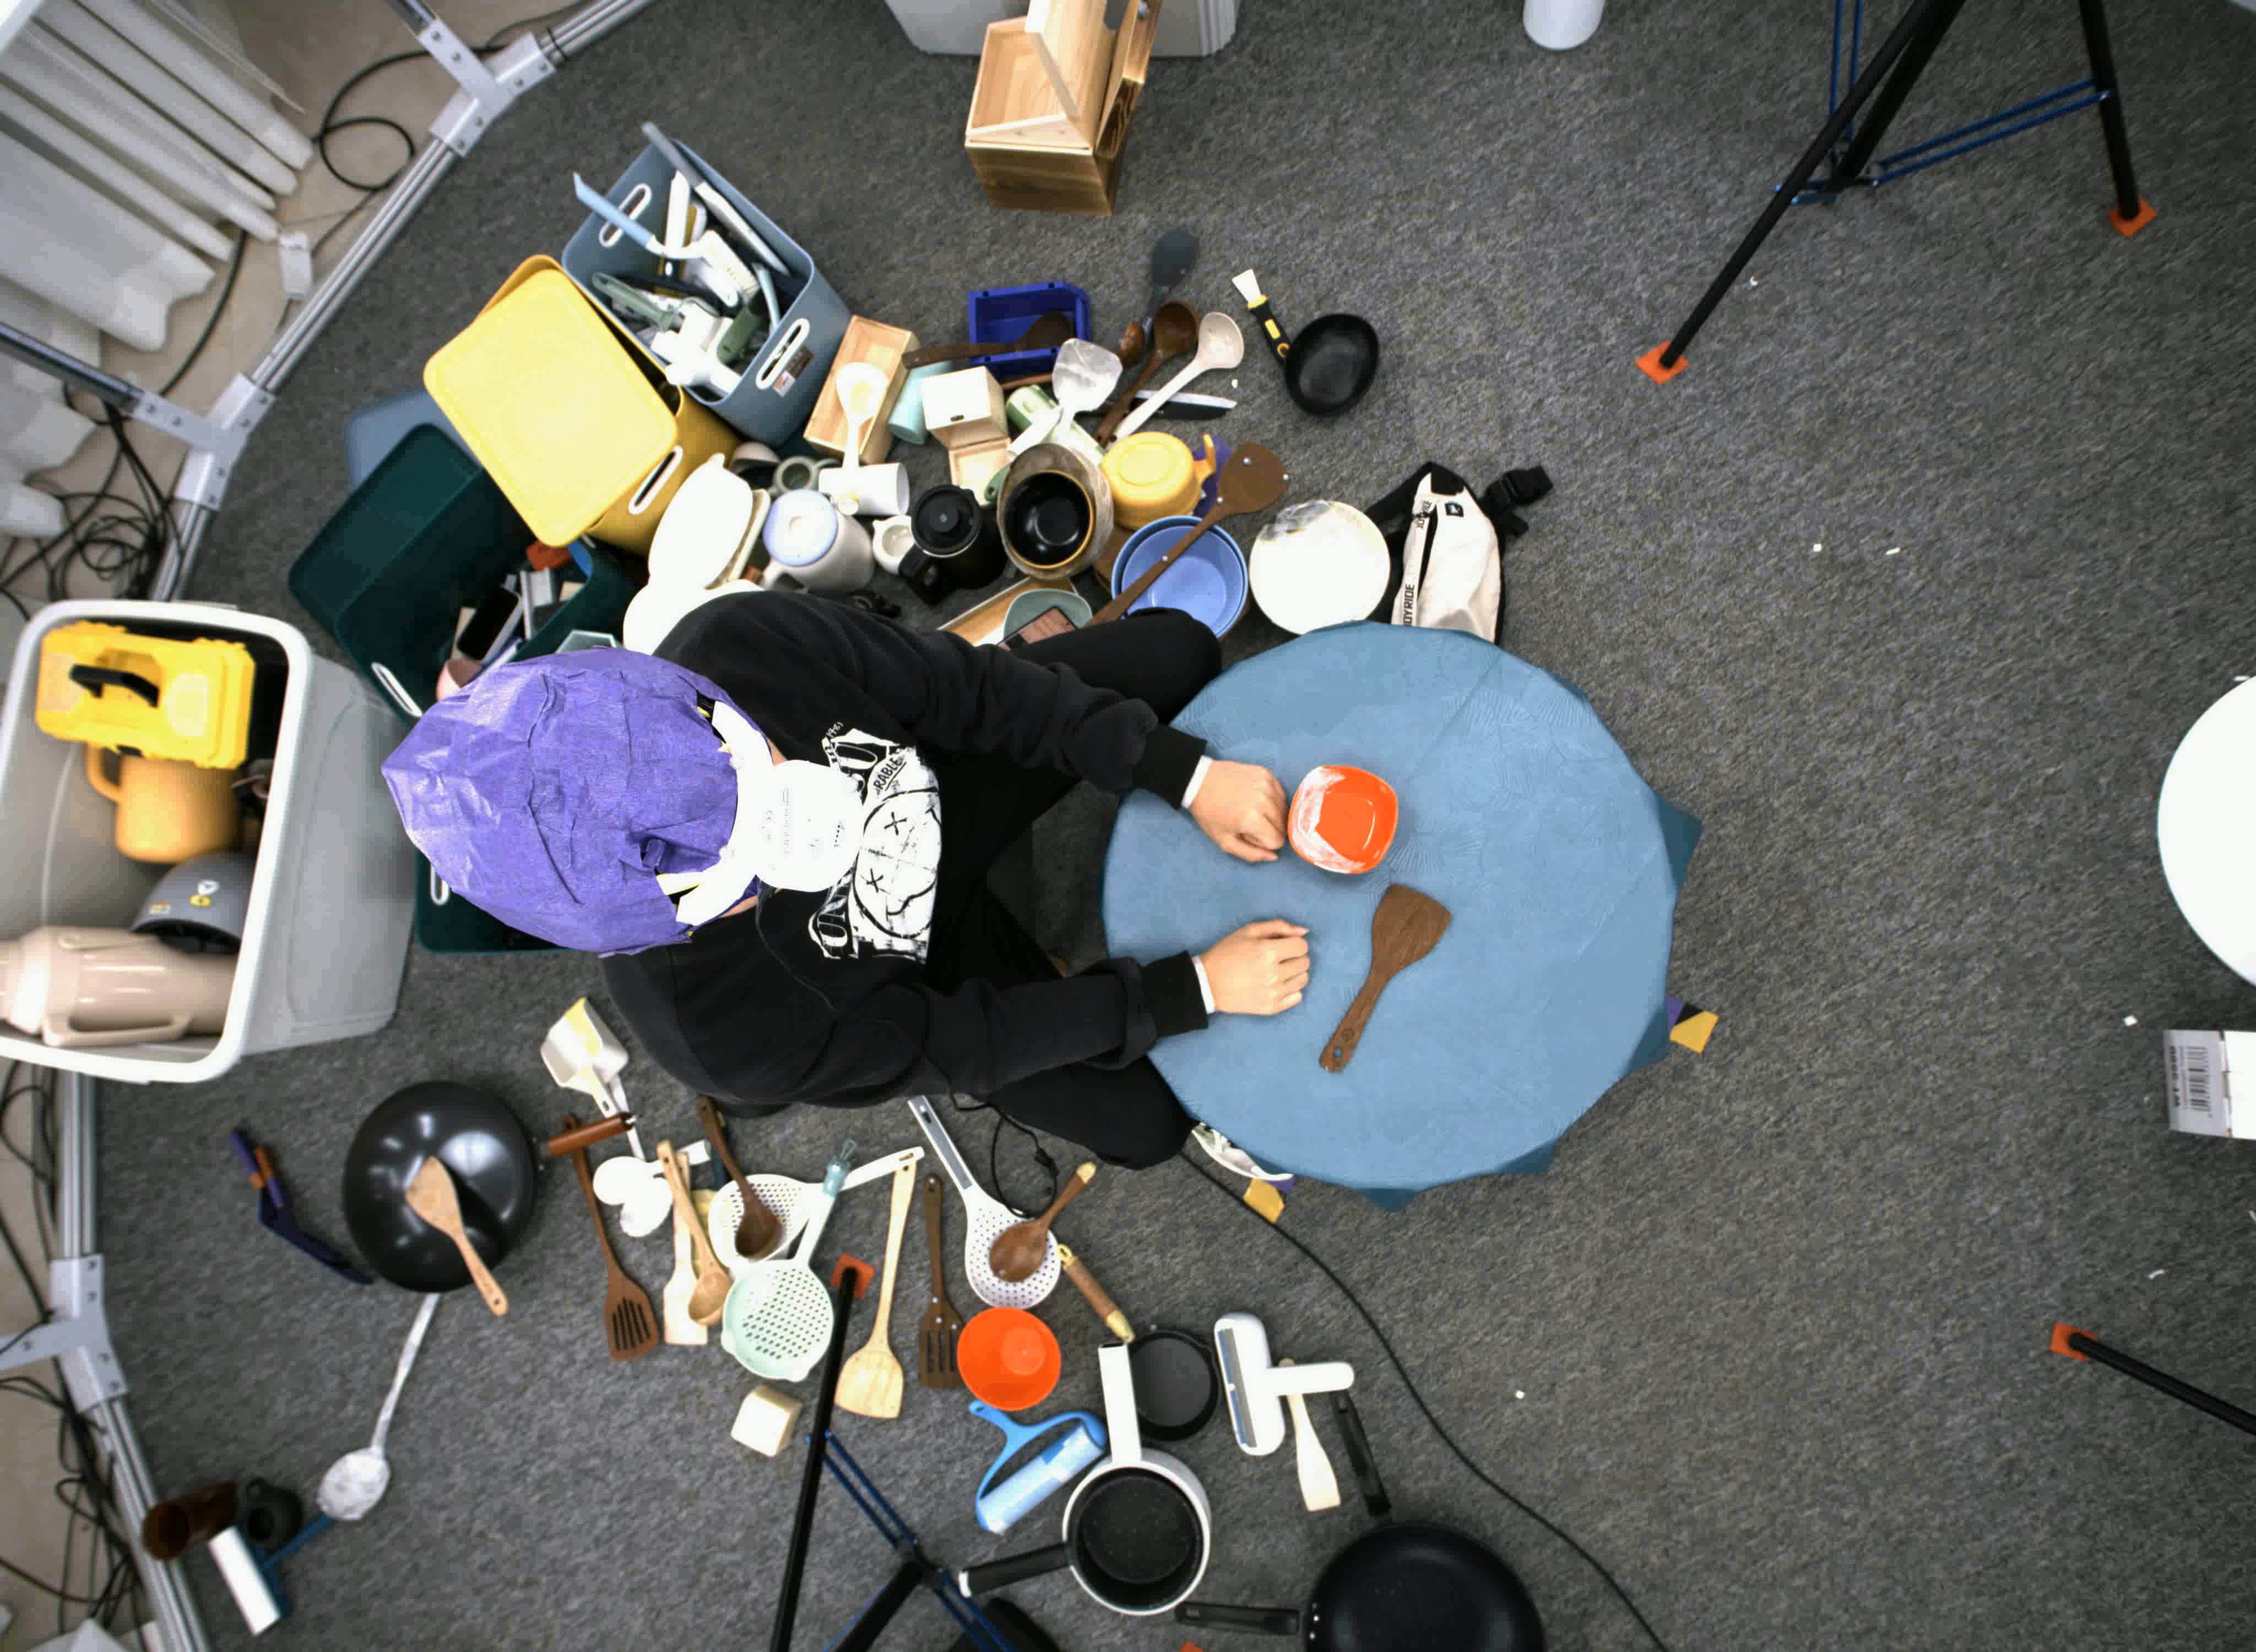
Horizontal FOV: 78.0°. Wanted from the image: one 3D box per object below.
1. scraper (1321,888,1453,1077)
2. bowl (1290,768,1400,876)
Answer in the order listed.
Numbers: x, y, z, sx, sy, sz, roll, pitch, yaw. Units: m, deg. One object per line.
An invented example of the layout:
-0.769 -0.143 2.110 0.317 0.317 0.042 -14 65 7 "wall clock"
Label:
0.263 0.167 1.456 0.075 0.011 0.211 29 92 12 "scraper"
0.228 -0.003 1.453 0.119 0.051 0.118 -1 86 9 "bowl"
